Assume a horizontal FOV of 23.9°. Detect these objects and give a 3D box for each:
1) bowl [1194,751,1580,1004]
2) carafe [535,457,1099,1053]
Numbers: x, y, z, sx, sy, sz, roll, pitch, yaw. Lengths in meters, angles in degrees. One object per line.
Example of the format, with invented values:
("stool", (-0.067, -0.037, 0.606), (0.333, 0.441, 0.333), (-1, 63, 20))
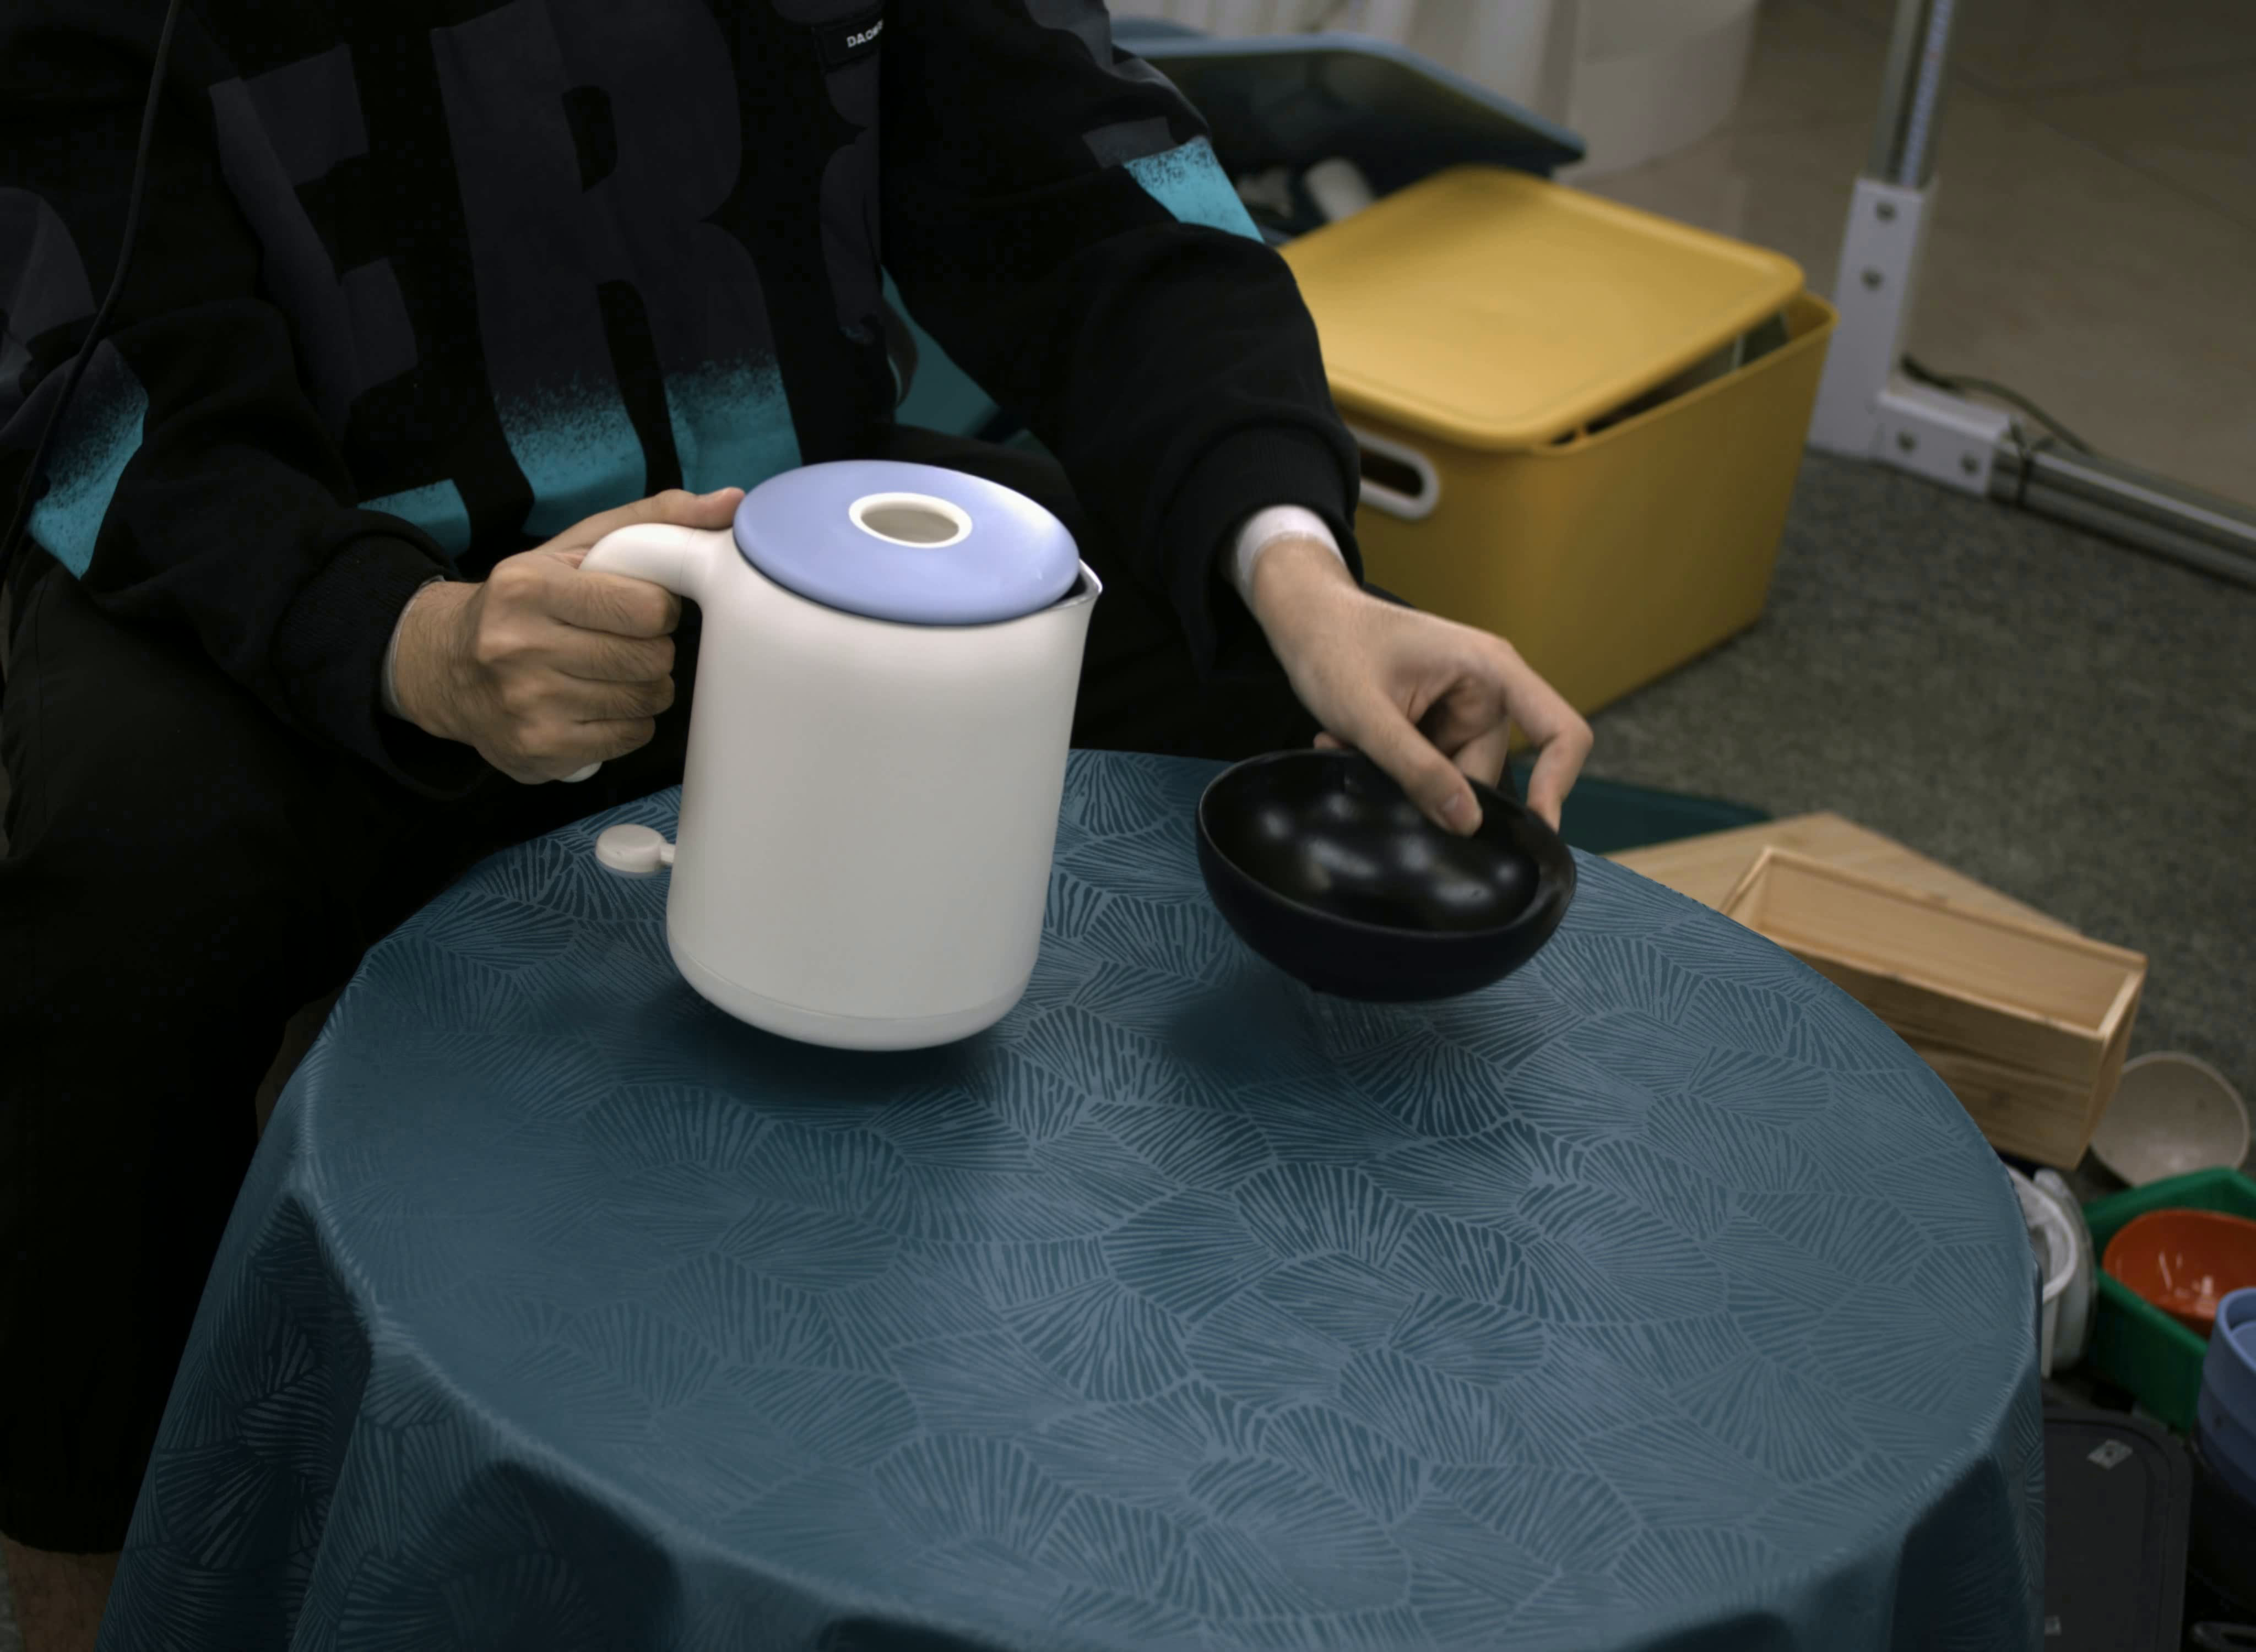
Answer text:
("bowl", (0.089, 0.025, 1.902), (0.139, 0.049, 0.141), (6, 26, -3))
("carafe", (-0.110, -0.029, 1.835), (0.191, 0.182, 0.132), (10, 25, 7))
